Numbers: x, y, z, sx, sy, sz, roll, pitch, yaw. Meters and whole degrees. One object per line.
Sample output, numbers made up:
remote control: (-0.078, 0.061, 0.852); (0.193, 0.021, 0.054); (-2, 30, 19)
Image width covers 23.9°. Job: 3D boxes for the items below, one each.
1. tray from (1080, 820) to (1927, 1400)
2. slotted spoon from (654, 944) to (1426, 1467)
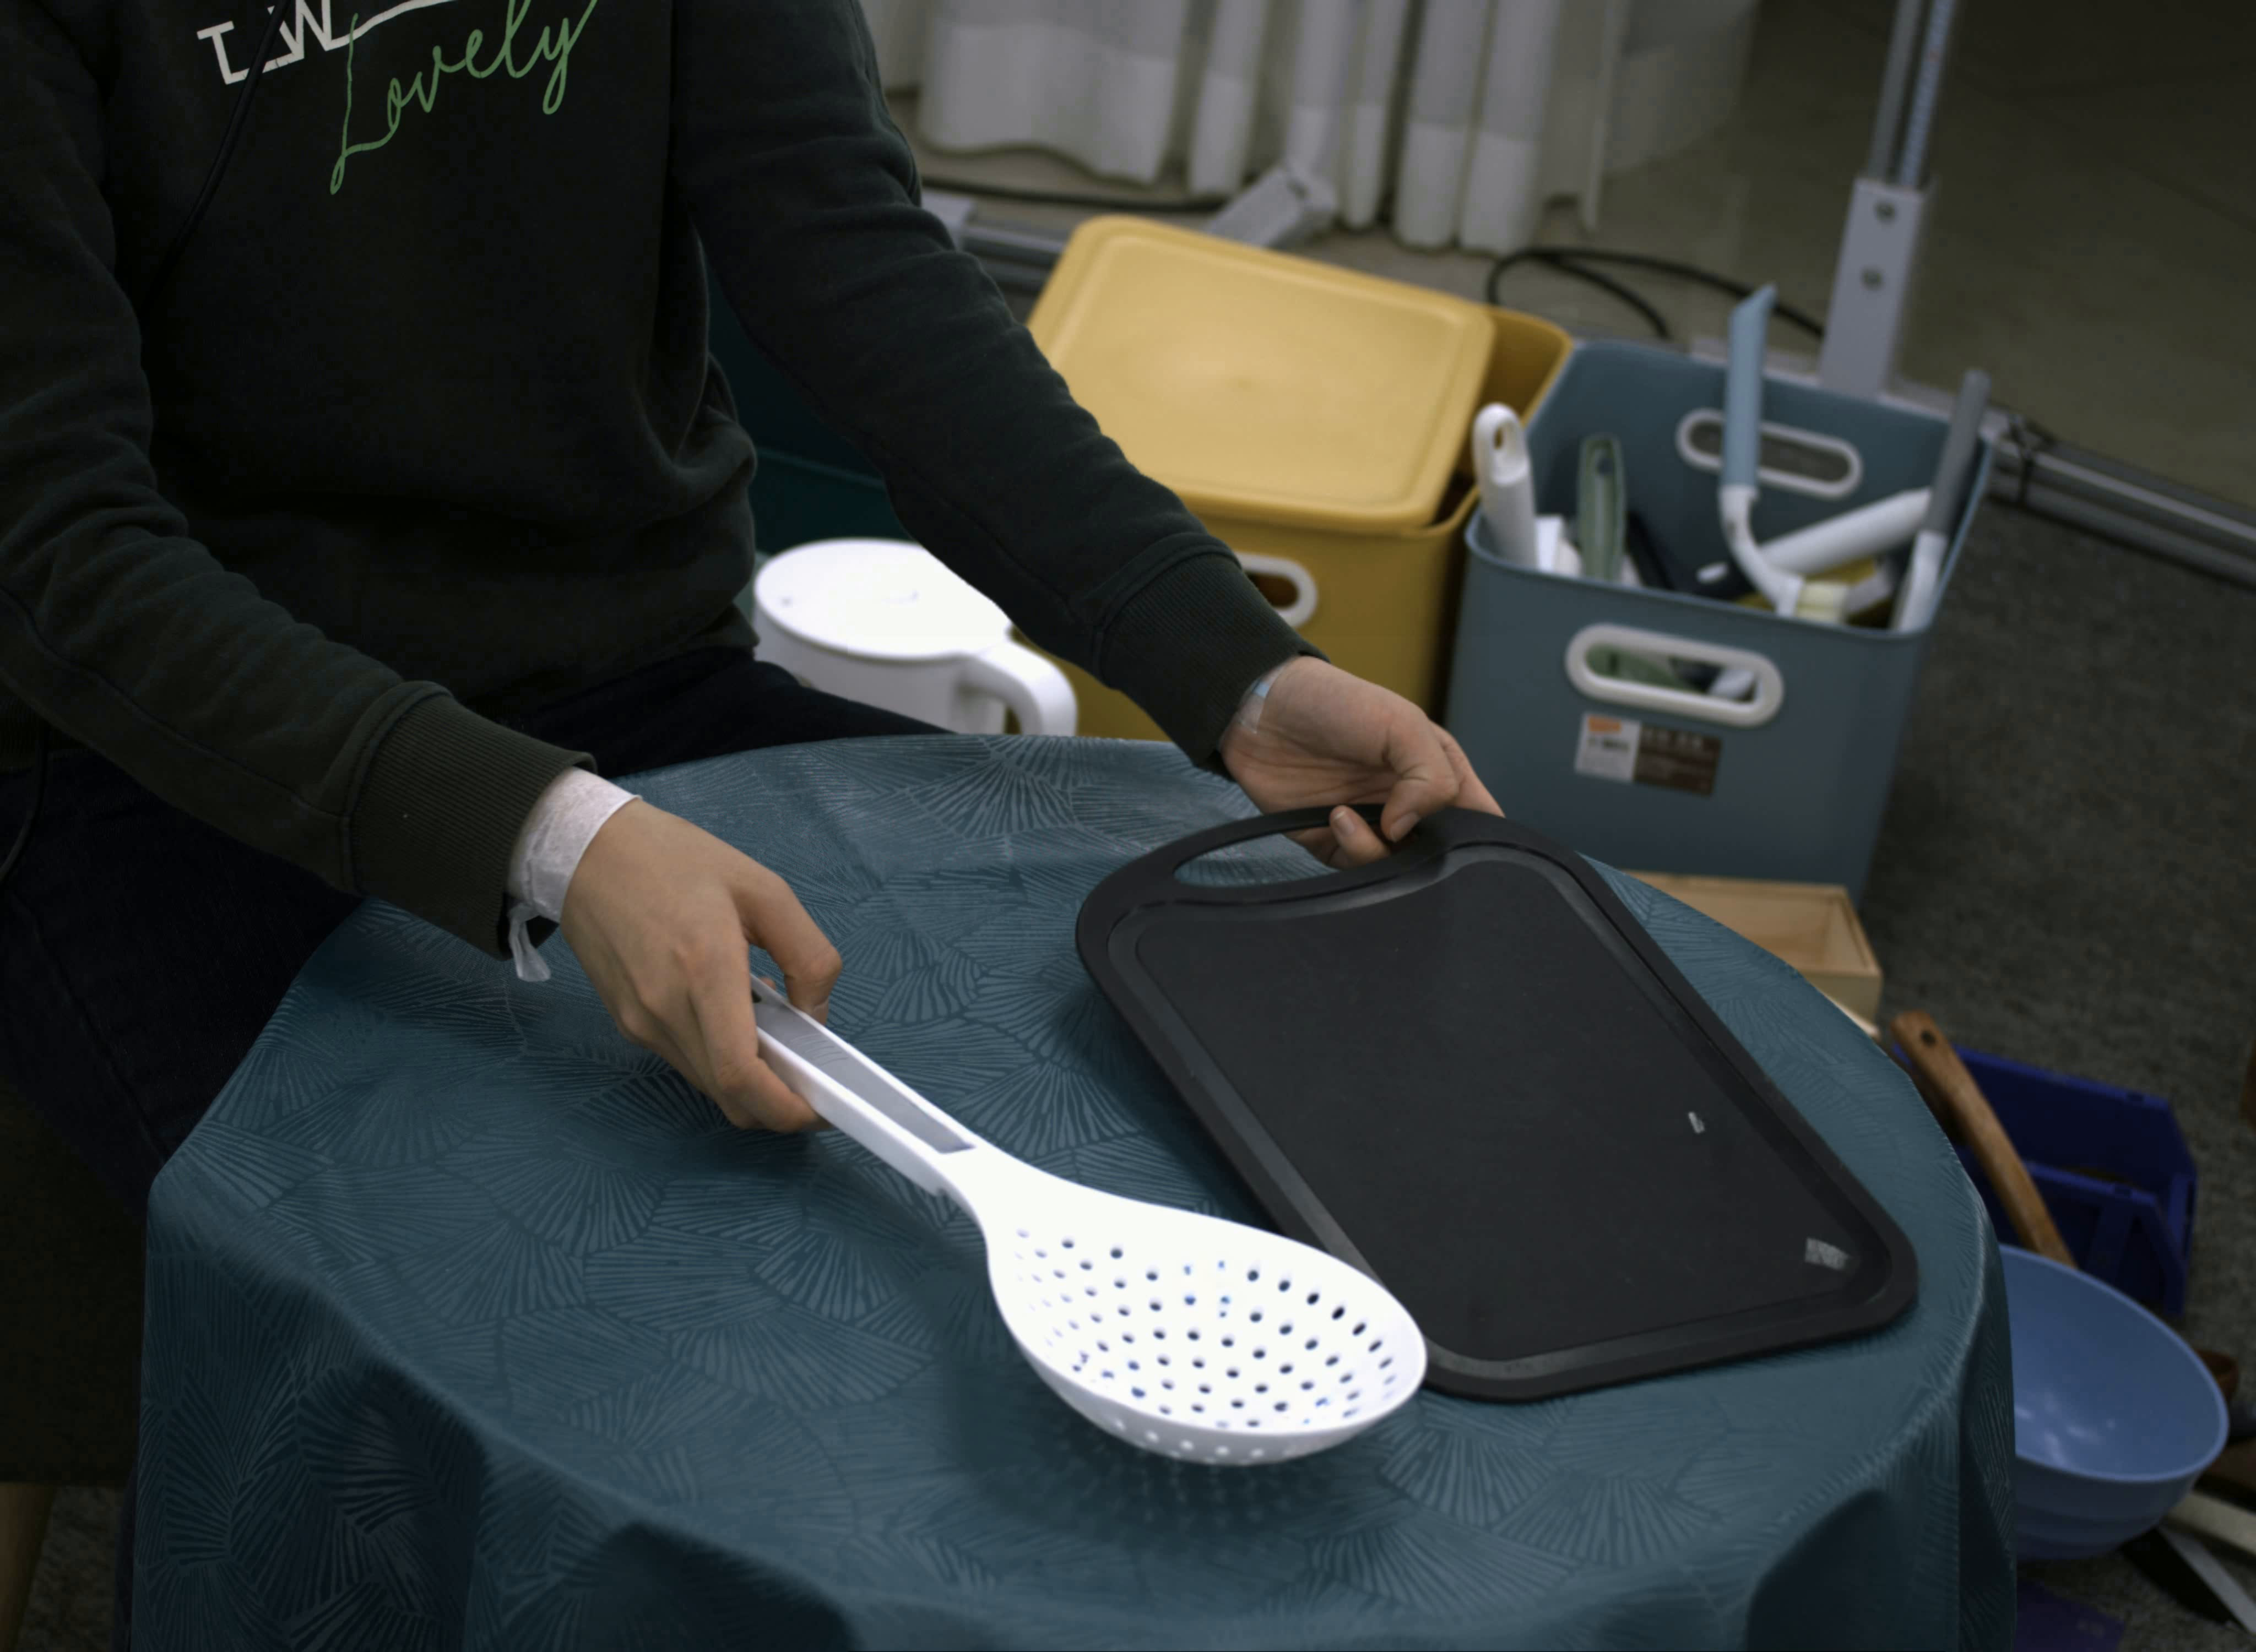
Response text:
tray: (0.121, 0.088, 1.850); (0.210, 0.010, 0.328); (-9, 36, -24)
slotted spoon: (-0.044, 0.118, 1.730); (0.135, 0.045, 0.353); (-10, 35, -40)
